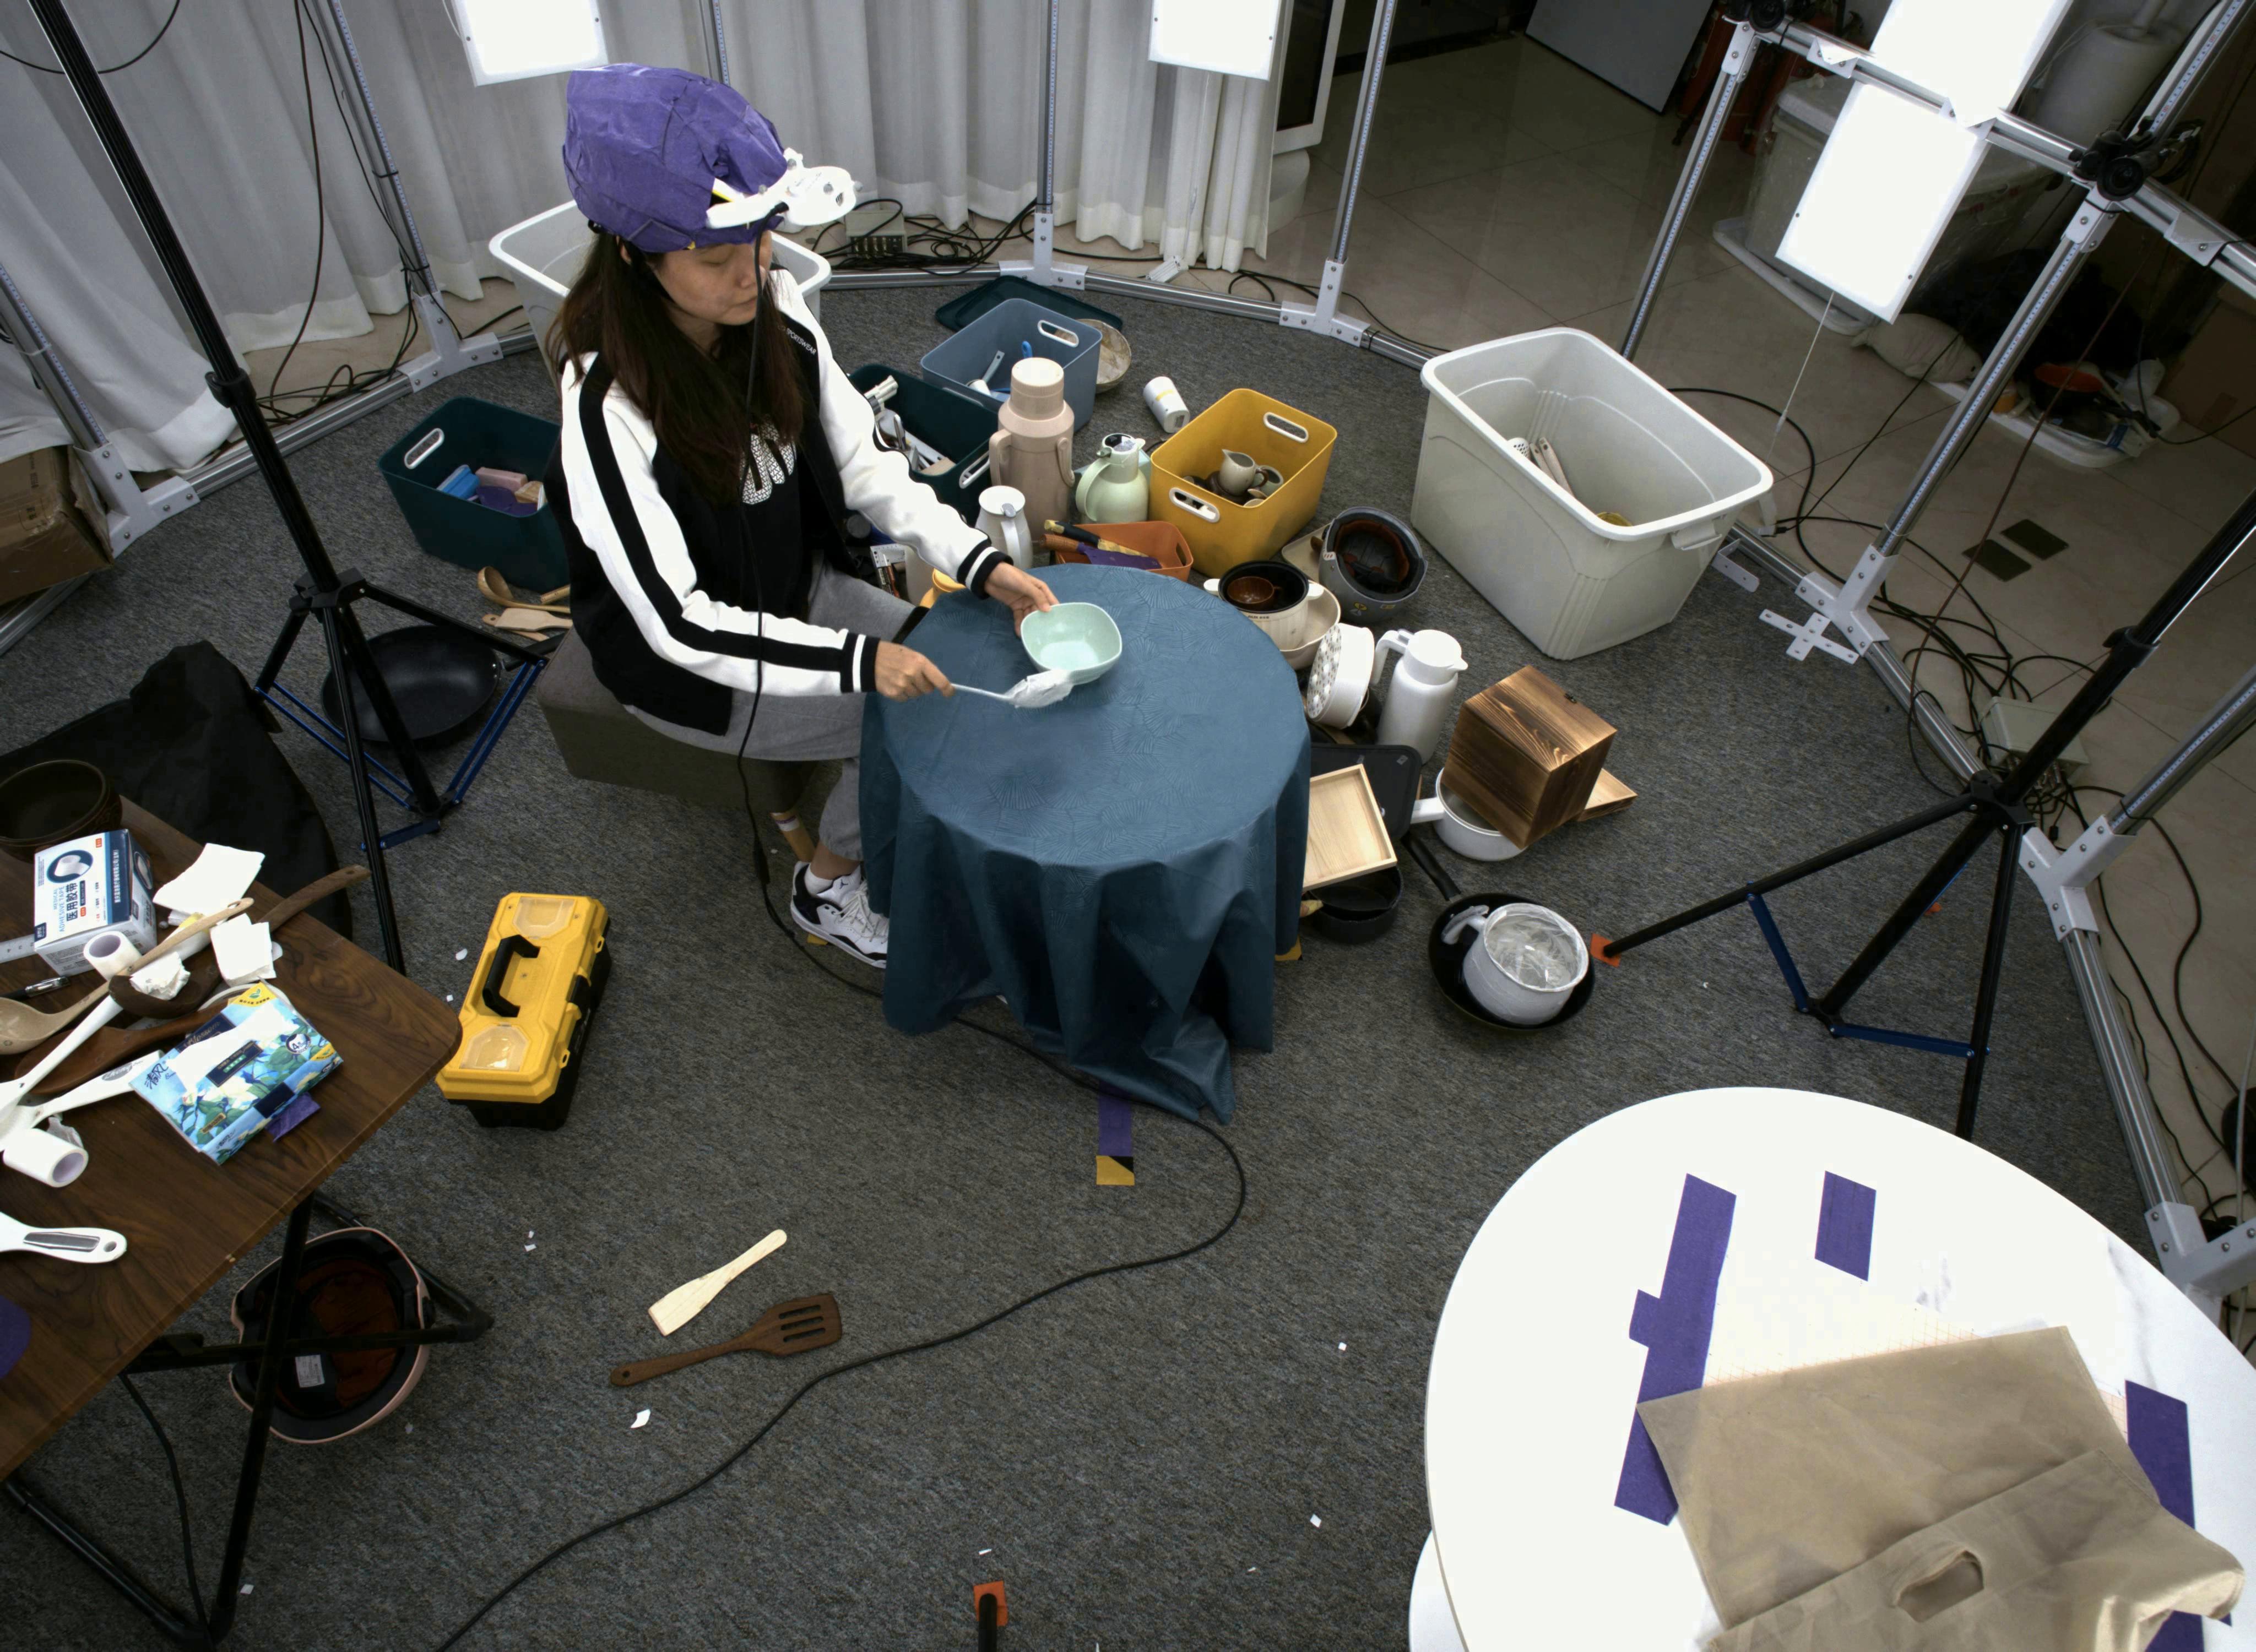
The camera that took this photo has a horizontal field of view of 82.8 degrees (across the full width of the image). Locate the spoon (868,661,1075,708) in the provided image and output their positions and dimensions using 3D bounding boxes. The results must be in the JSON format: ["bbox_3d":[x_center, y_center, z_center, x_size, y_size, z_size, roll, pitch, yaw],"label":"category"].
[{"bbox_3d":[-0.207,-0.205,1.701,0.278,0.099,0.060,15,74,14],"label":"spoon"}]

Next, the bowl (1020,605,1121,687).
[{"bbox_3d":[-0.083,-0.251,1.848,0.151,0.057,0.155,2,49,-3],"label":"bowl"}]
